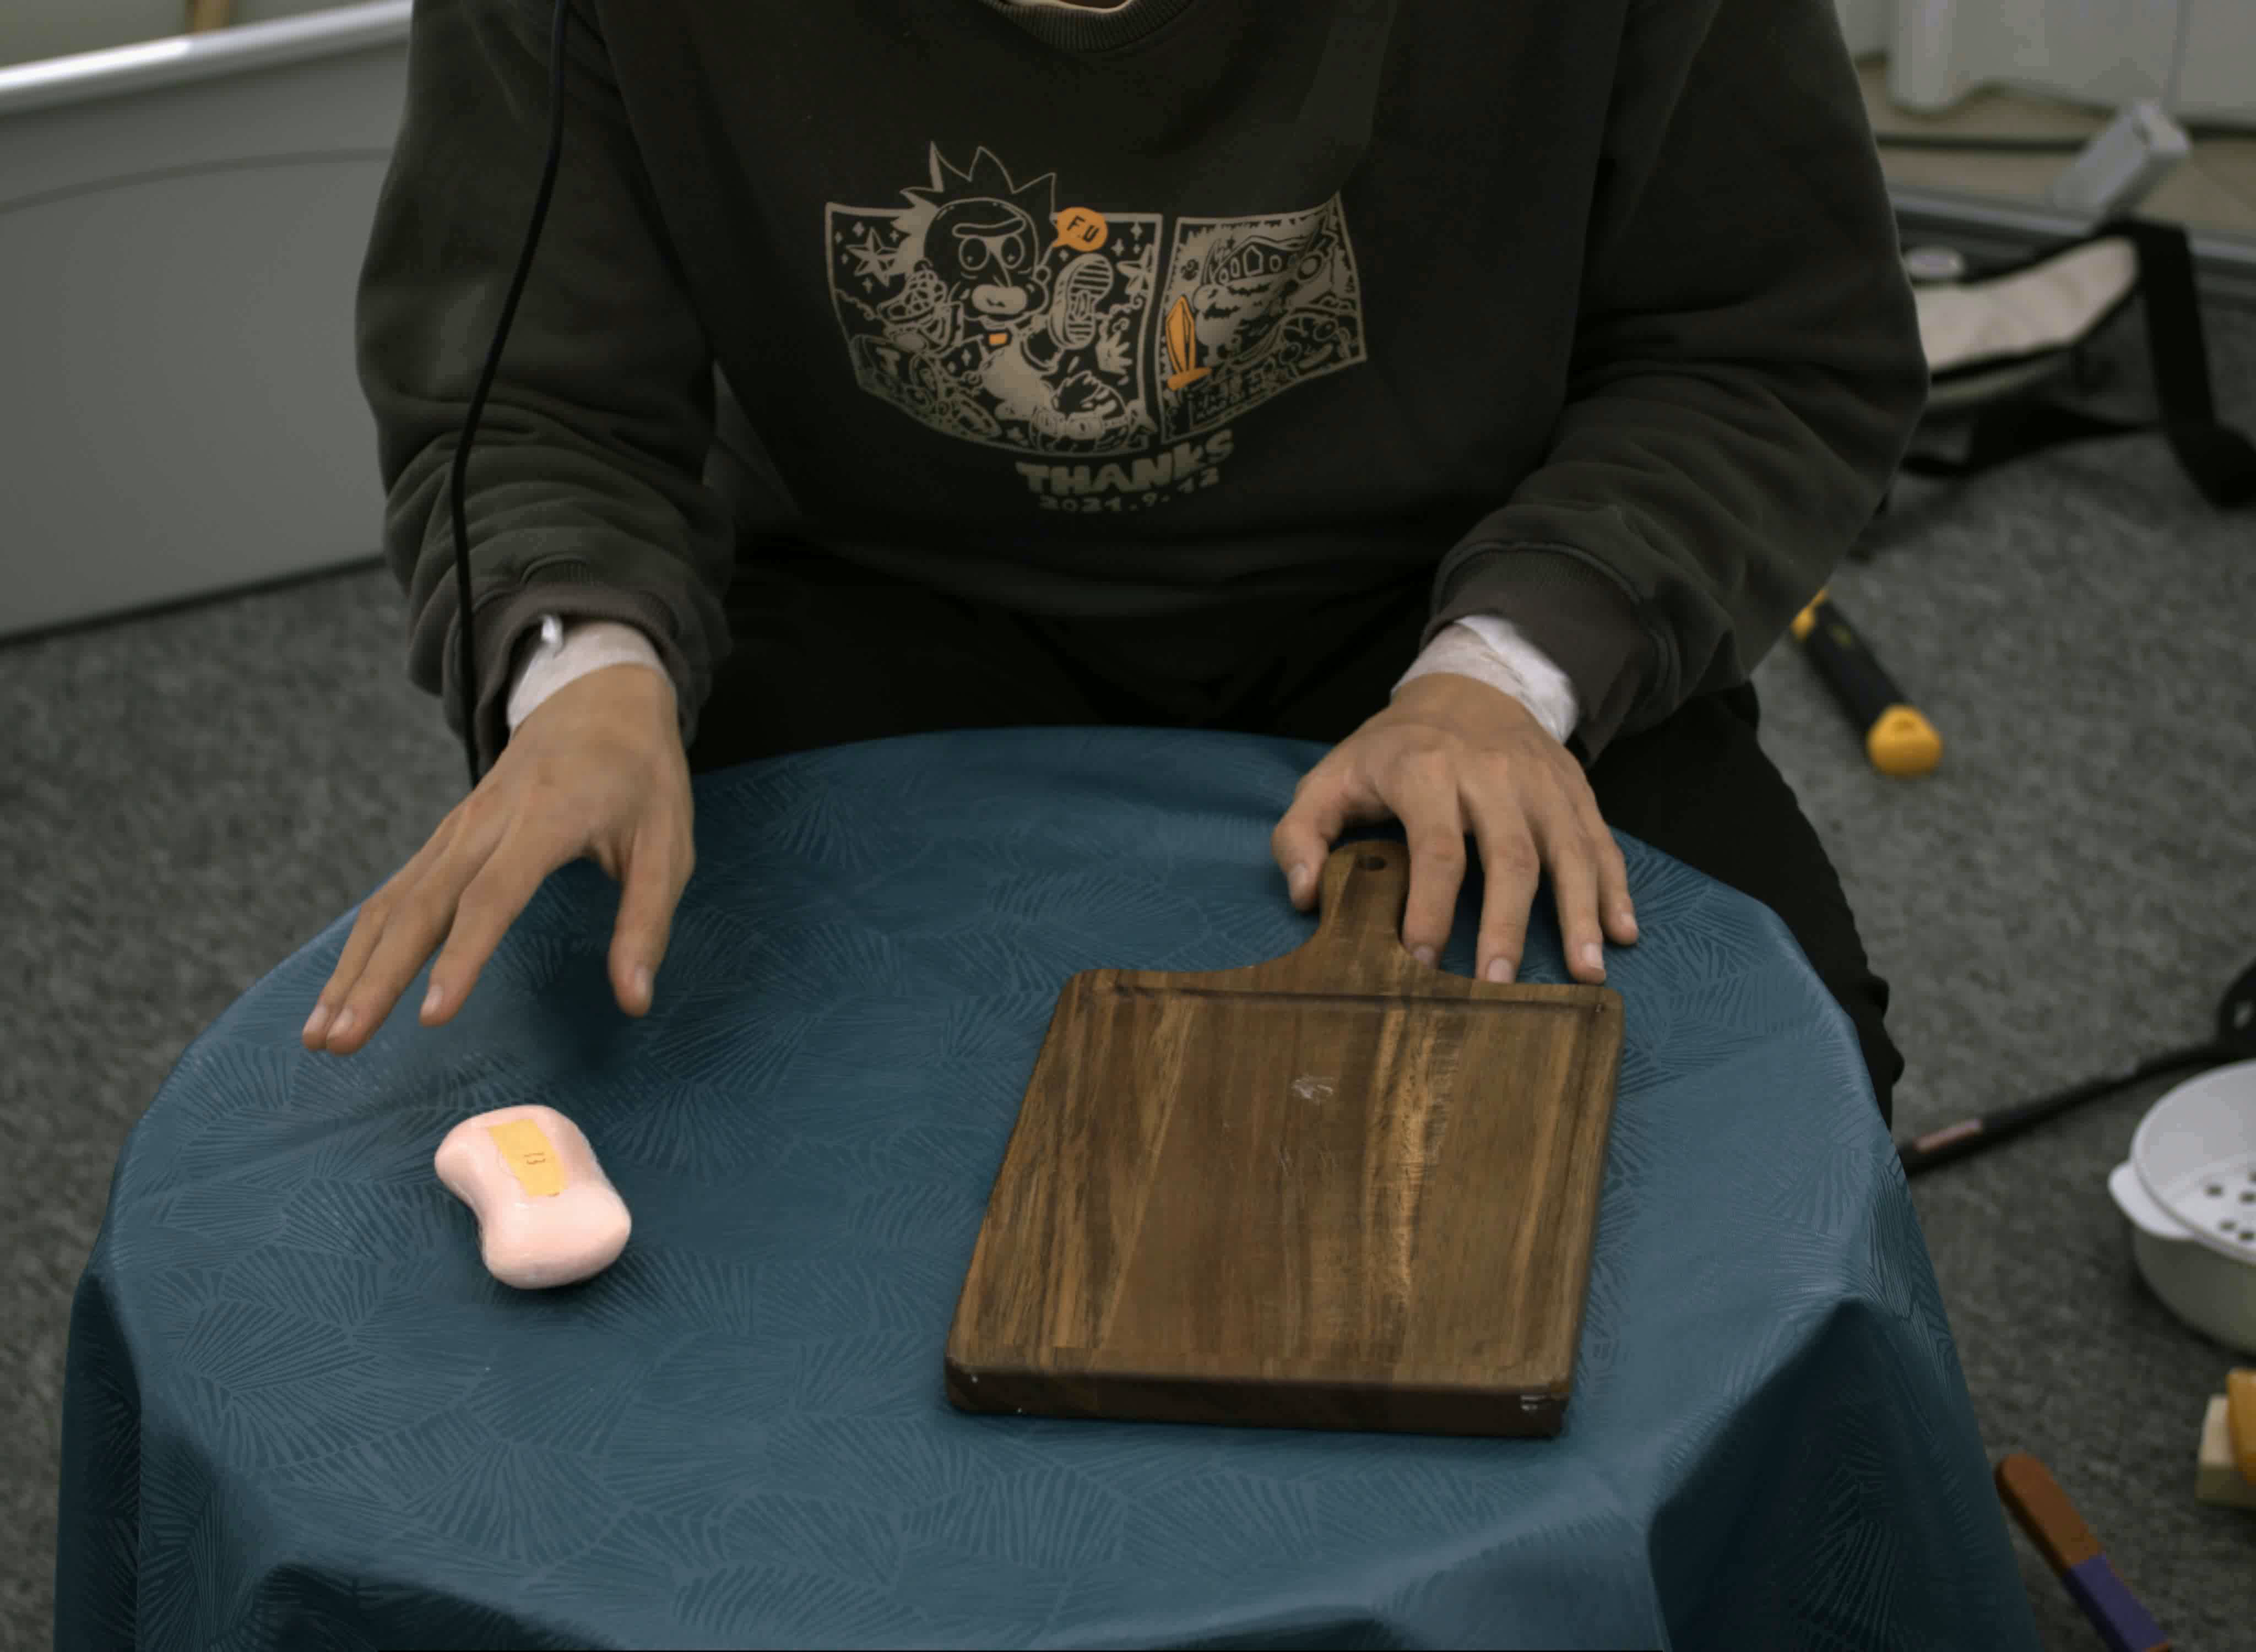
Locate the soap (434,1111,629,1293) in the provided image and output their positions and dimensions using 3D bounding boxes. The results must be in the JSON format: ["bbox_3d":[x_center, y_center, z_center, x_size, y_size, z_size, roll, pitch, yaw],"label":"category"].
[{"bbox_3d":[-0.197,0.124,1.846,0.050,0.030,0.095,-11,27,-16],"label":"soap"}]

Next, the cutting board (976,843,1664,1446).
[{"bbox_3d":[0.076,0.097,1.877,0.200,0.023,0.358,2,28,10],"label":"cutting board"}]
